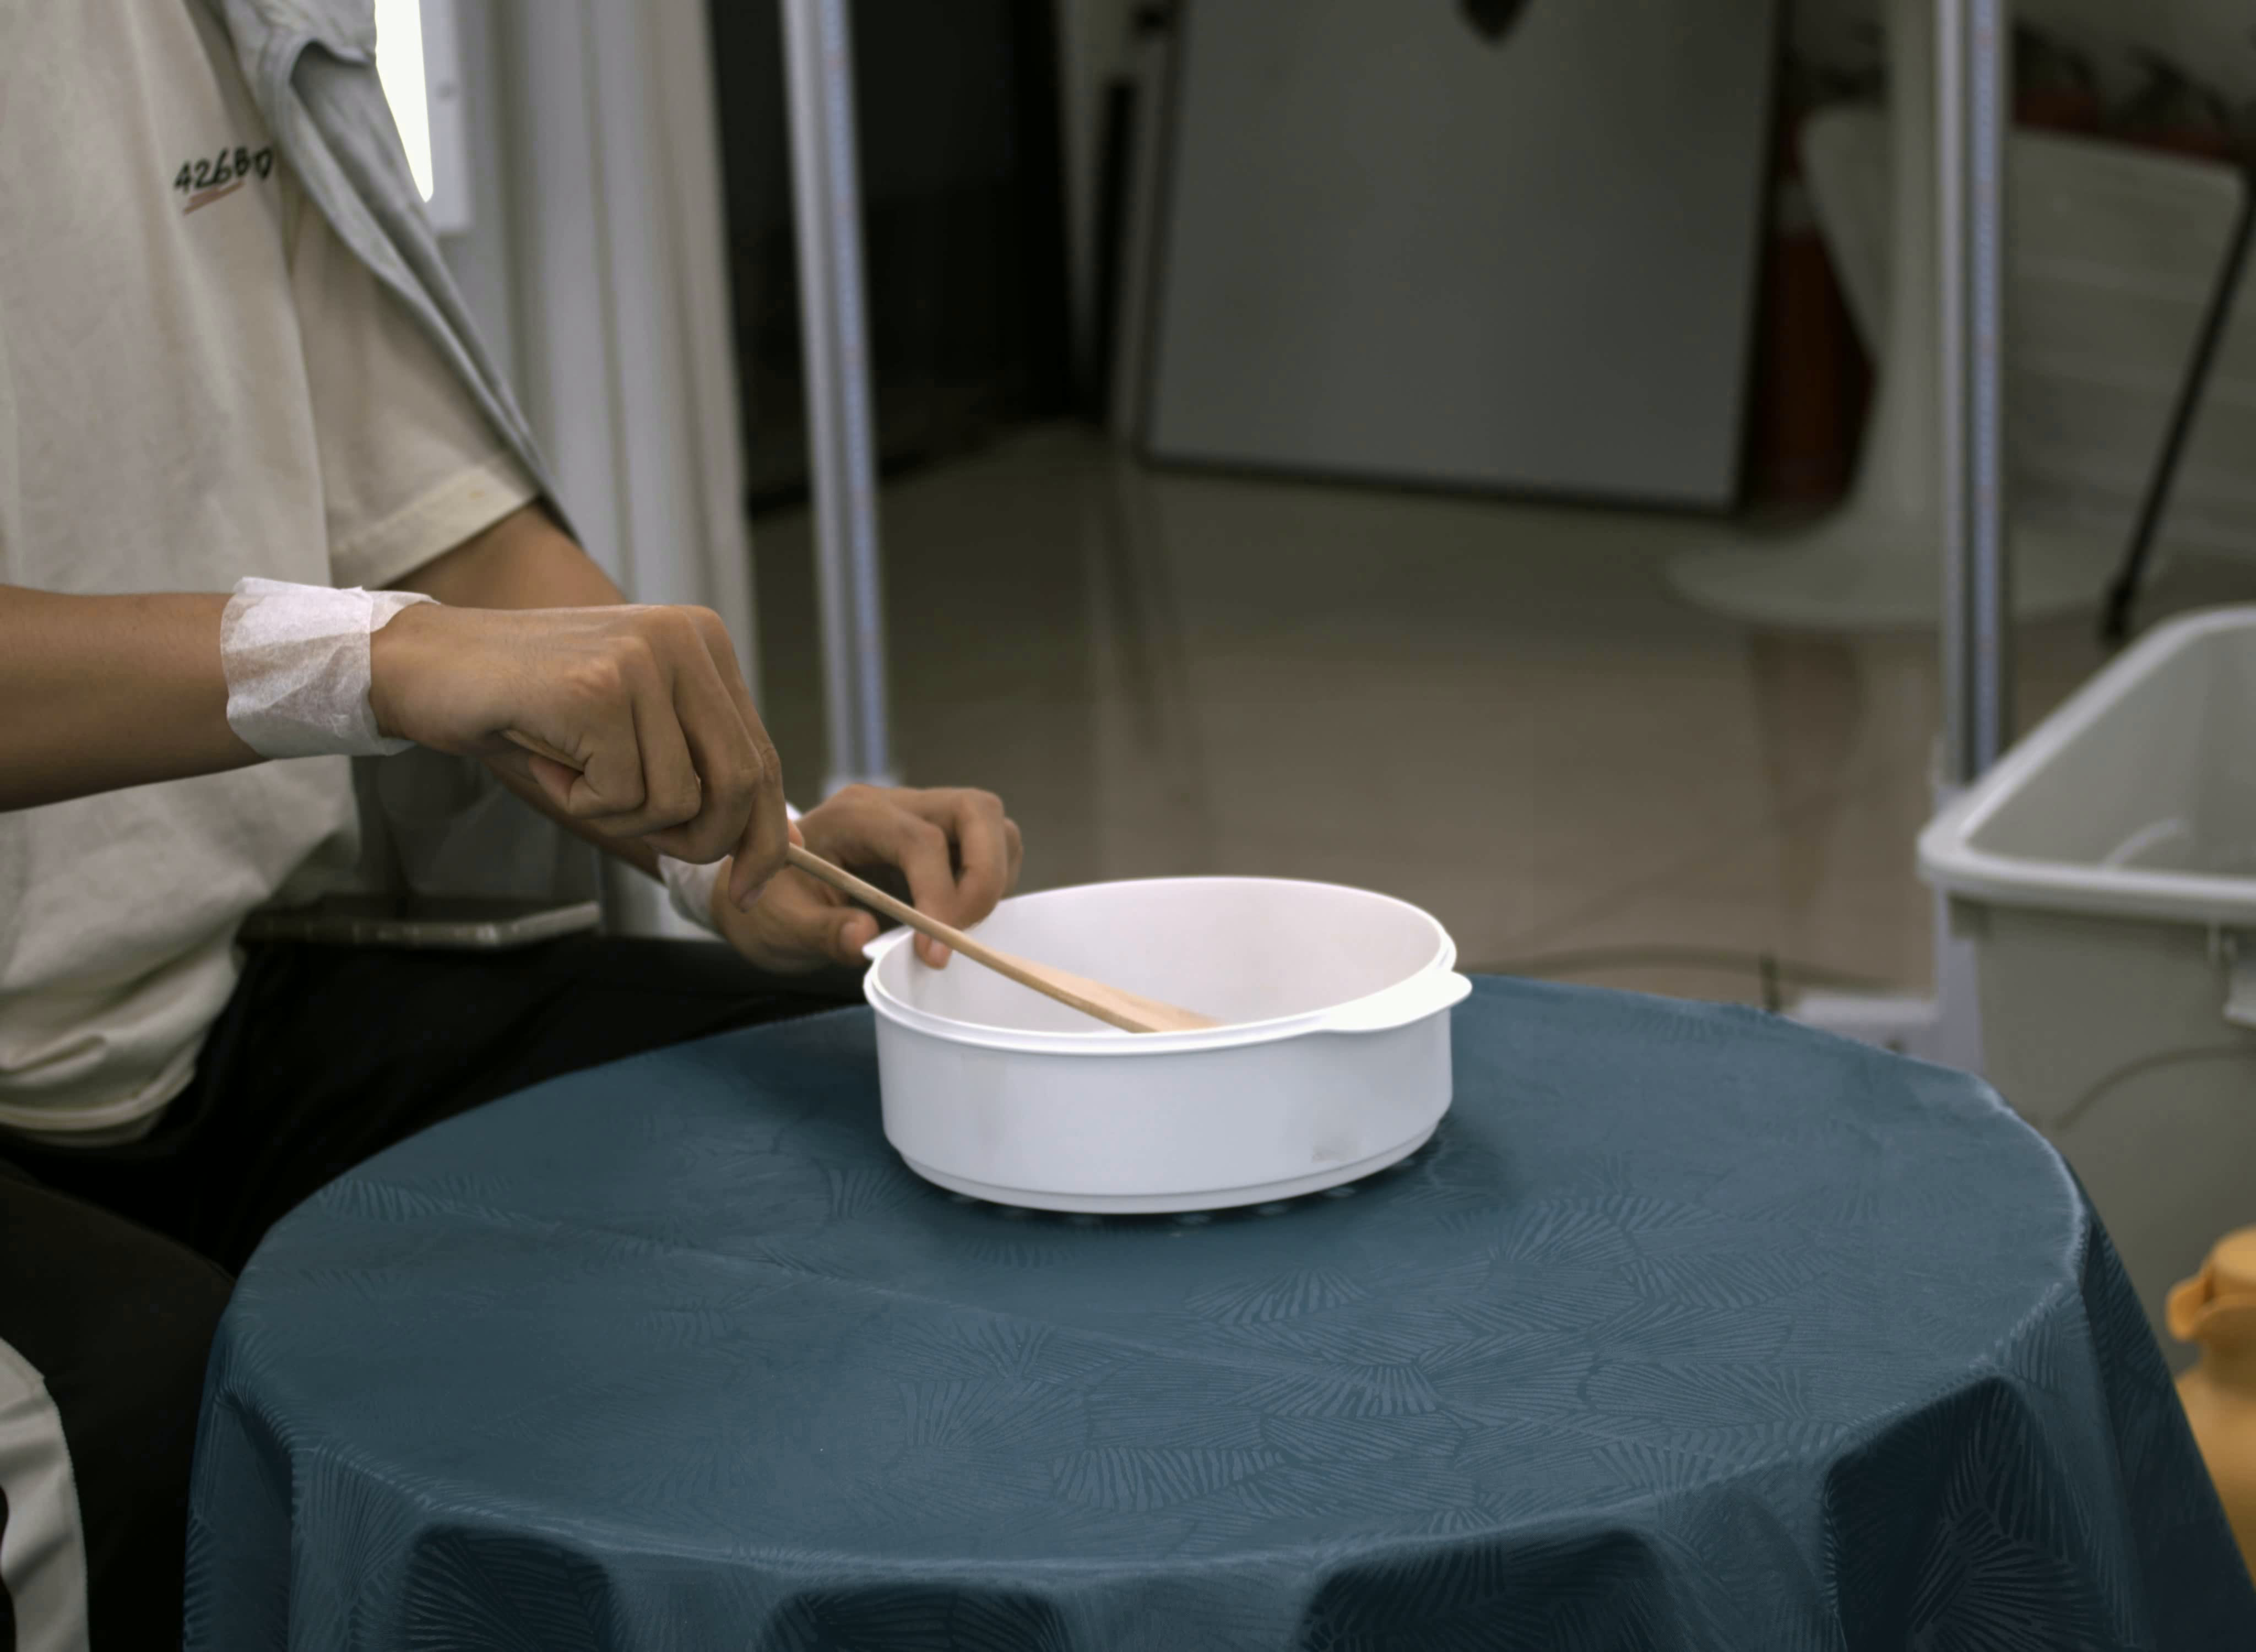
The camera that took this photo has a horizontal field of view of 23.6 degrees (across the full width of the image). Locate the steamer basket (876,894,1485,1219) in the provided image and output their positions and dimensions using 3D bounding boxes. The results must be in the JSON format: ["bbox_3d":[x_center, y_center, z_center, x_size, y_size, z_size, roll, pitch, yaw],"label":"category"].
[{"bbox_3d":[0.017,0.077,1.812,0.232,0.070,0.198,6,16,39],"label":"steamer basket"}]

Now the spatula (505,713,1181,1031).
[{"bbox_3d":[-0.068,0.026,1.756,0.321,0.016,0.081,27,0,-33],"label":"spatula"}]
